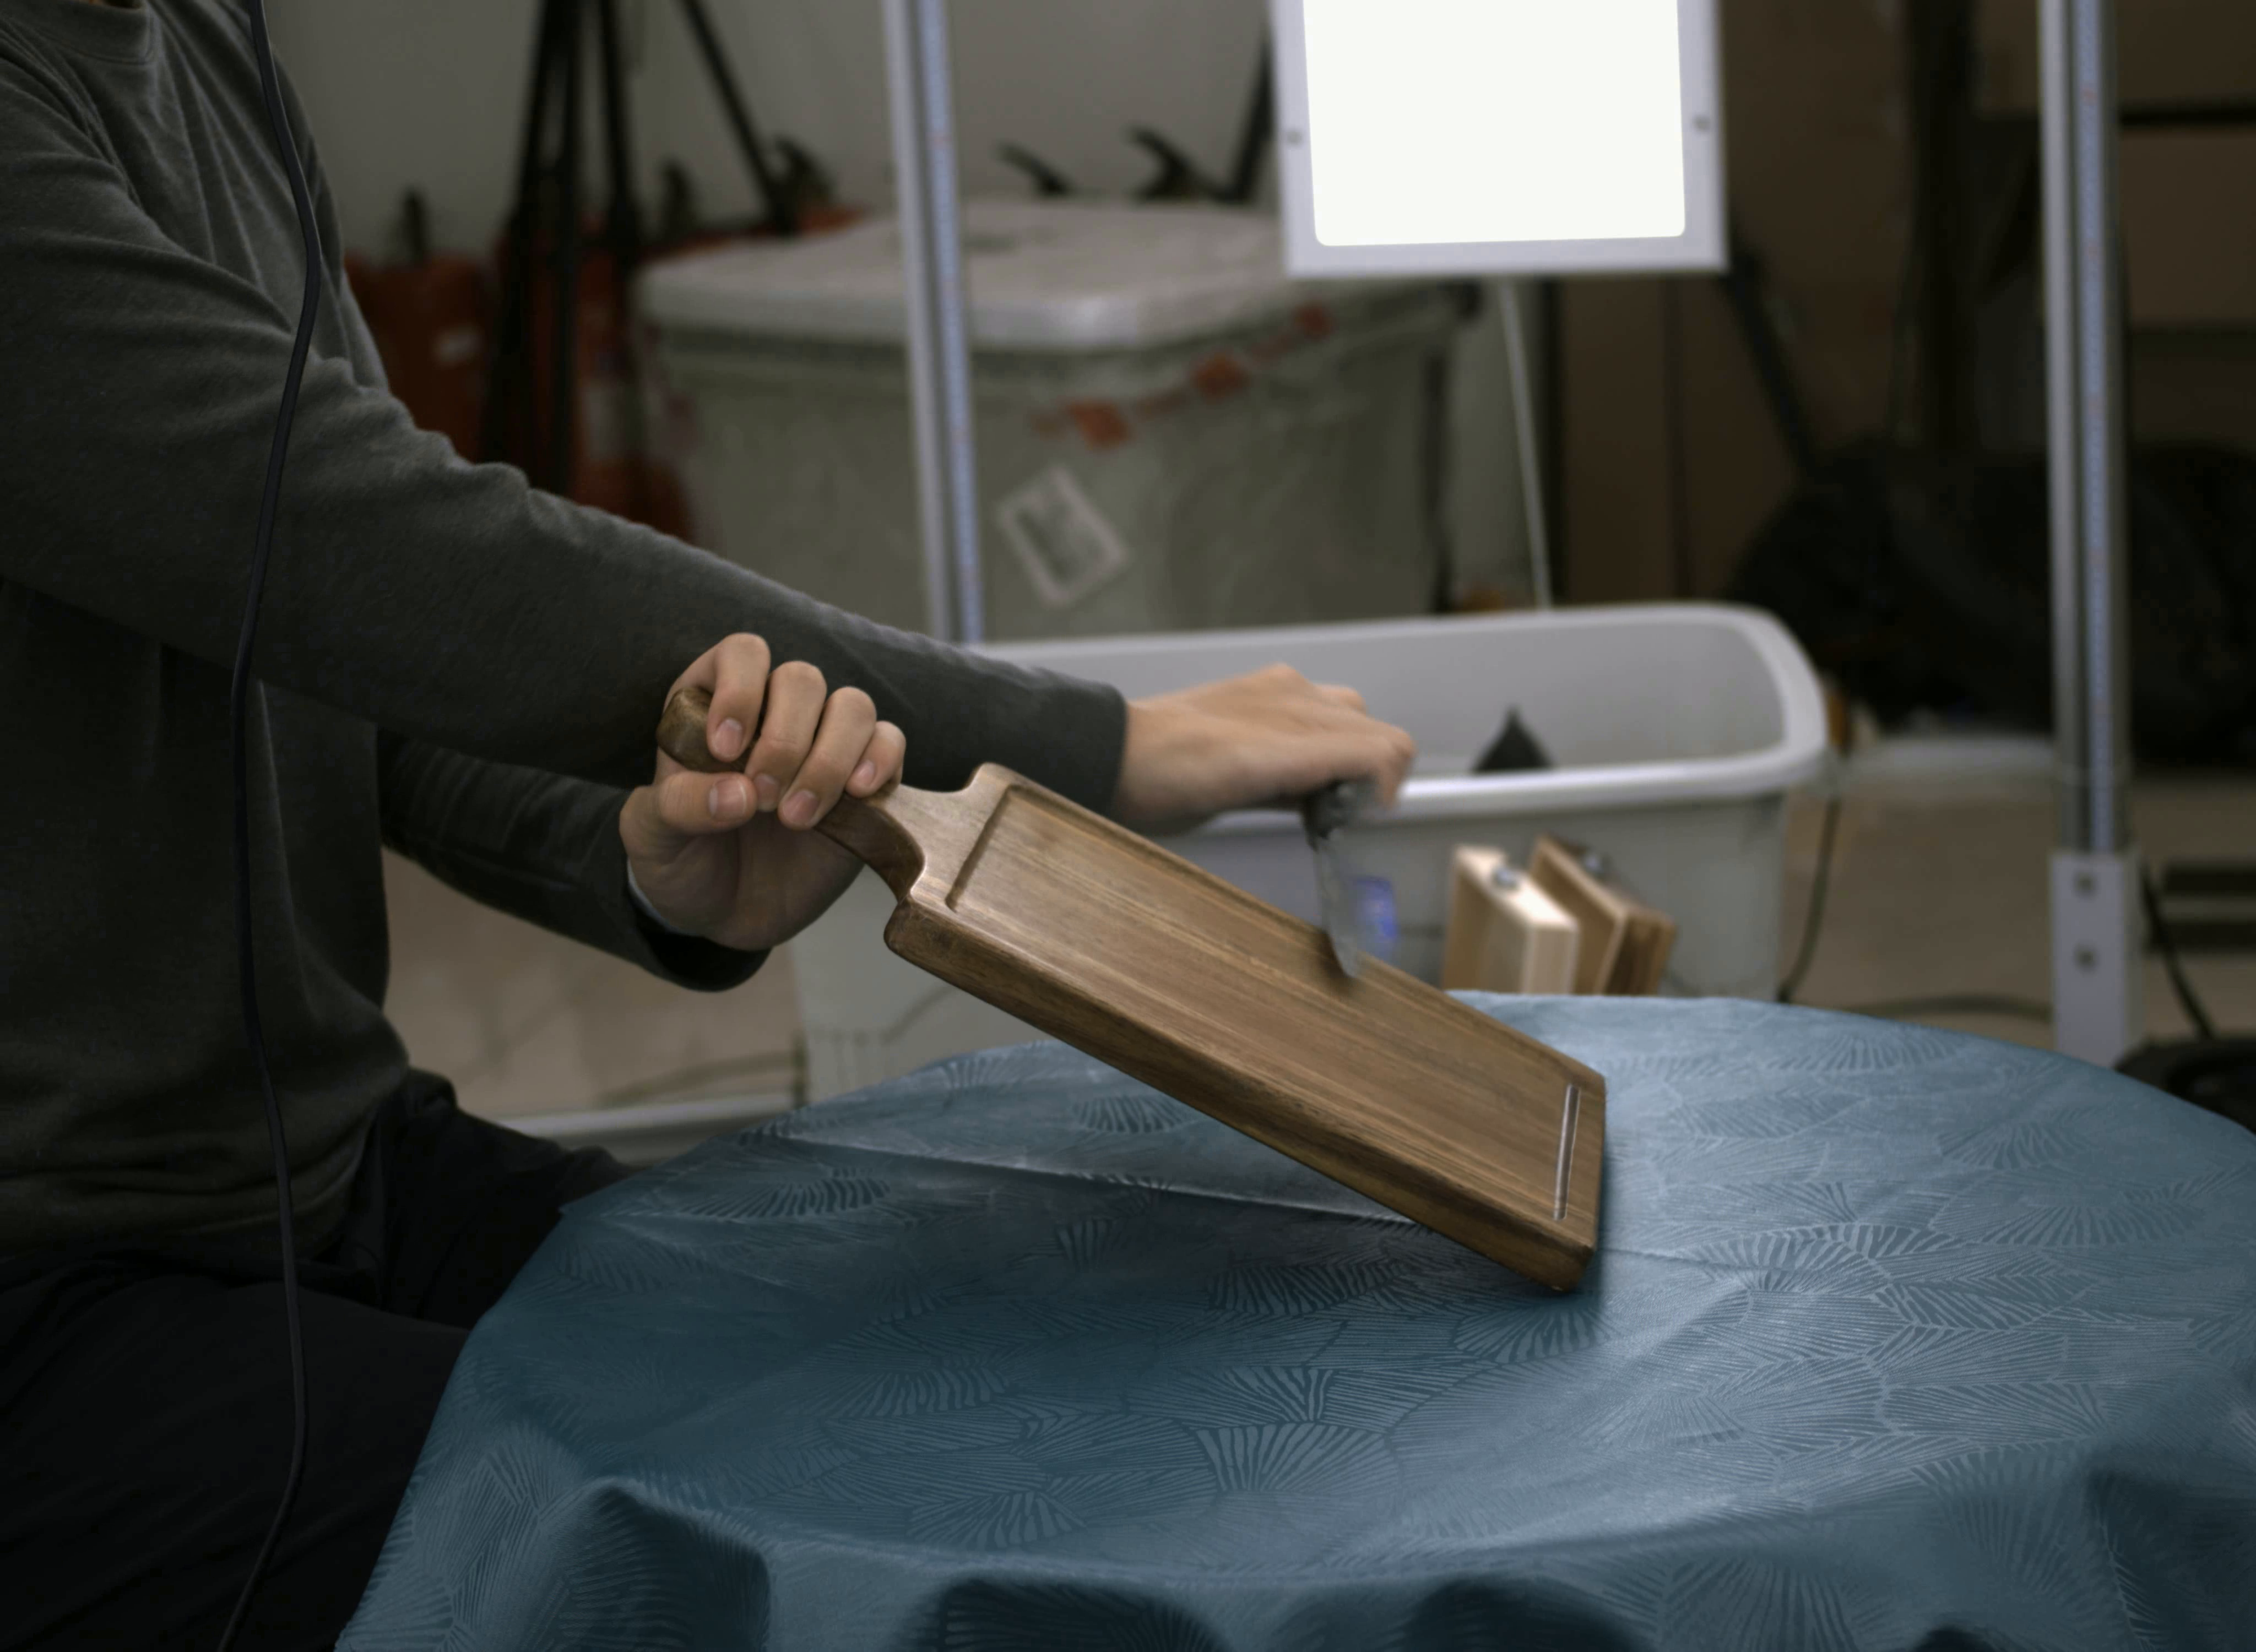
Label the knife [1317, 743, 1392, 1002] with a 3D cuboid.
[{"bbox_3d":[0.081,0.015,1.990,0.024,0.016,0.237,27,19,-10],"label":"knife"}]

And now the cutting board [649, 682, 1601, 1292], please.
[{"bbox_3d":[0.000,0.040,1.845,0.352,0.023,0.199,27,16,1],"label":"cutting board"}]
